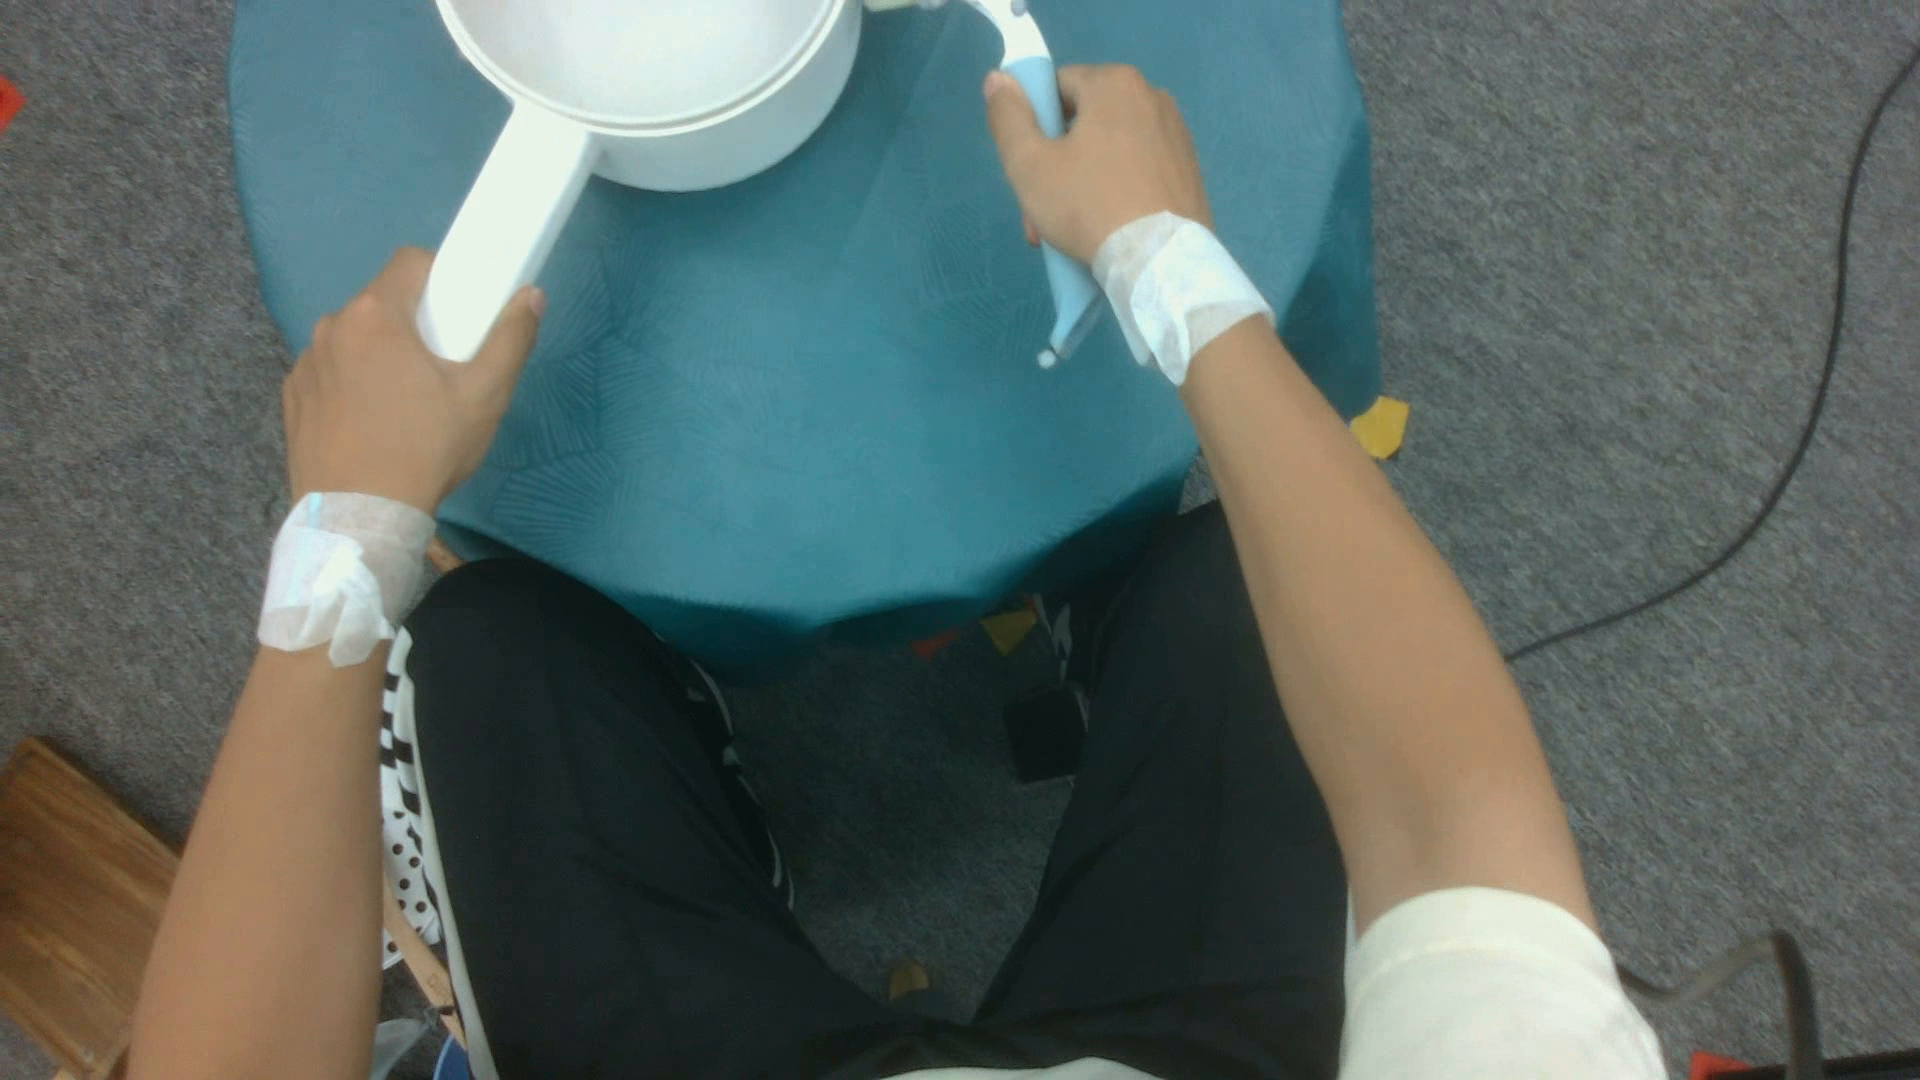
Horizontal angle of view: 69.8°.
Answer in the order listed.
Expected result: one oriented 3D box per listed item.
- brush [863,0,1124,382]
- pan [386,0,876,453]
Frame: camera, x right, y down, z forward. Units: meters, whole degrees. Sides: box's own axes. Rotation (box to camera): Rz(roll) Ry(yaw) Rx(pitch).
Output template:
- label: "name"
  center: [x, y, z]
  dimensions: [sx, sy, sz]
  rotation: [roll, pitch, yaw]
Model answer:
- label: "brush"
  center: [-0.005, -0.221, 0.658]
  dimensions: [0.083, 0.084, 0.326]
  rotation: [-1, 73, -39]
- label: "pan"
  center: [-0.173, -0.203, 0.700]
  dimensions: [0.201, 0.102, 0.355]
  rotation: [24, 82, 5]
